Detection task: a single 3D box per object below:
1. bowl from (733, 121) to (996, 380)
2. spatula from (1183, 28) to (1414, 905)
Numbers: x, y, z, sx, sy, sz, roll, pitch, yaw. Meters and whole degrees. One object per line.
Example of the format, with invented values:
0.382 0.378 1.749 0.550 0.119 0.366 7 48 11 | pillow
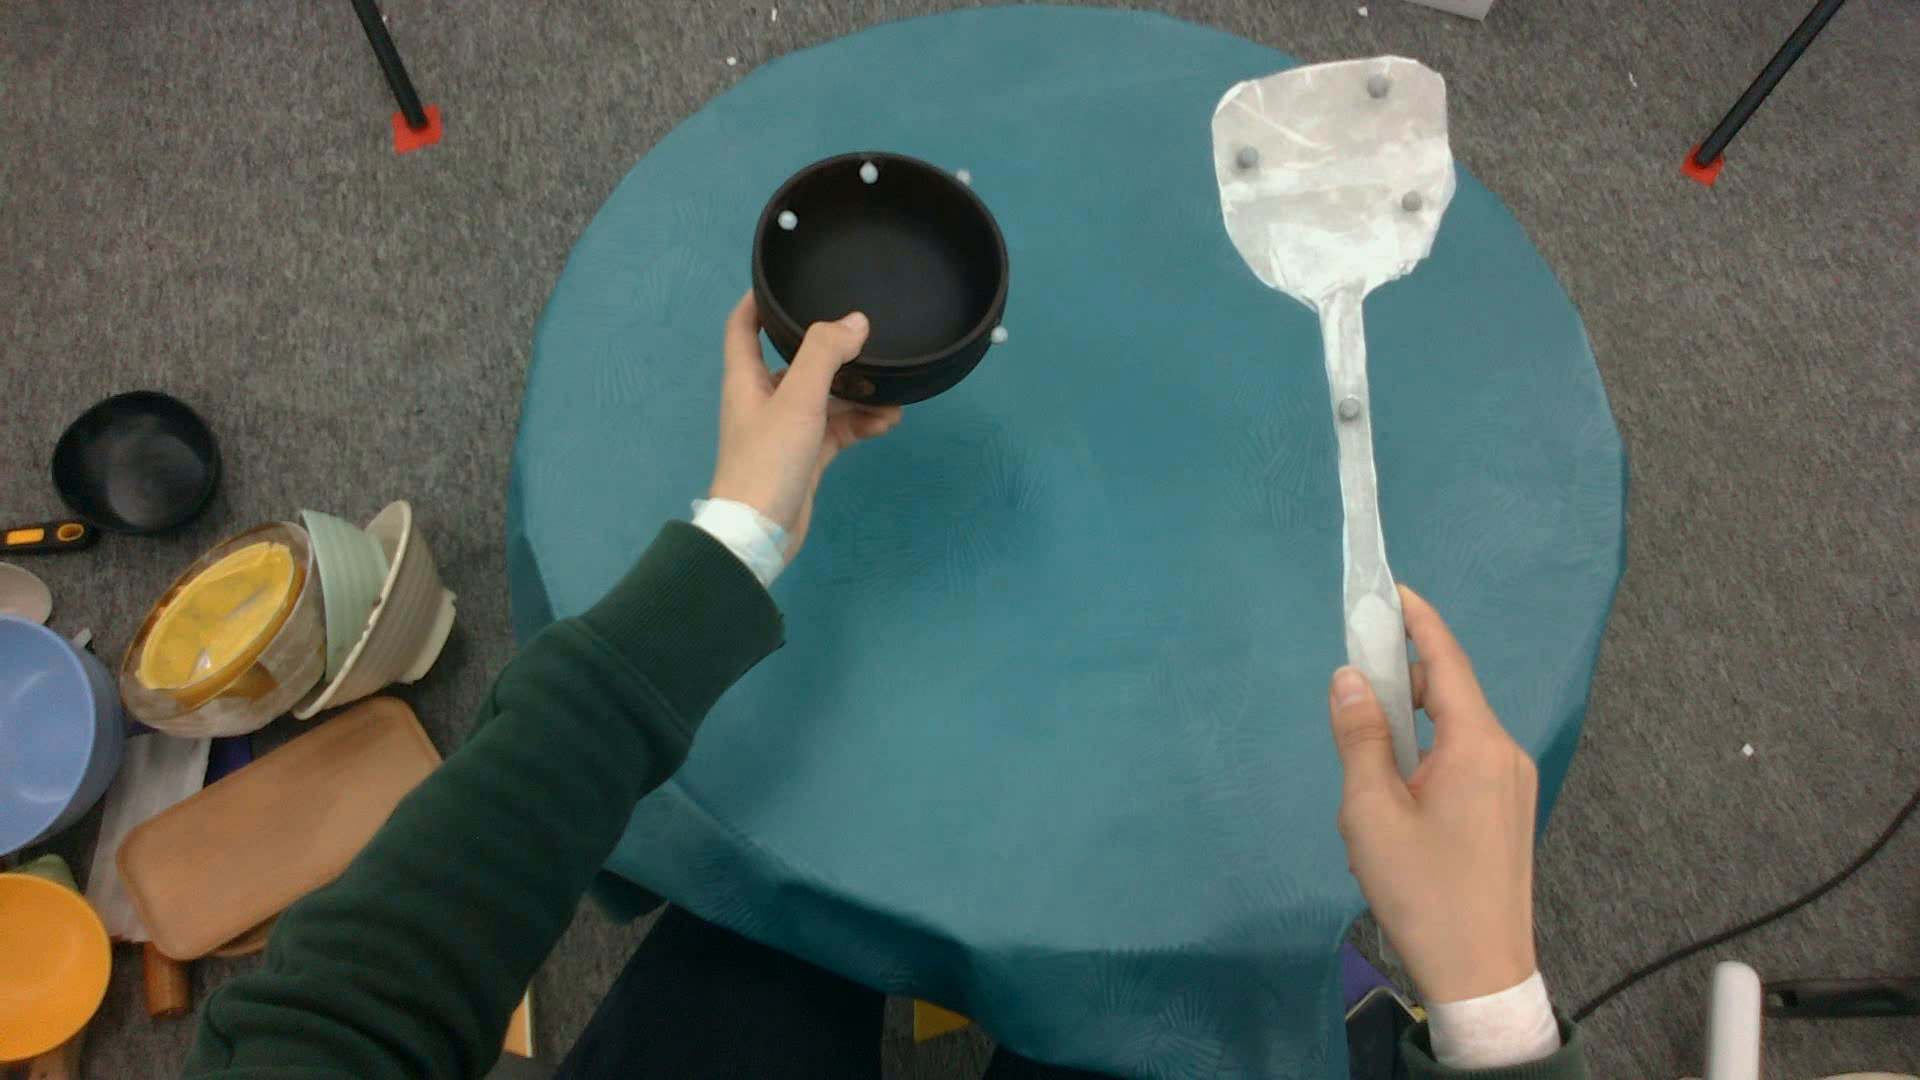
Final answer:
-0.045 -0.126 0.639 0.118 0.069 0.118 3 69 -7 | bowl
0.143 -0.045 0.546 0.098 0.044 0.366 -2 67 8 | spatula
